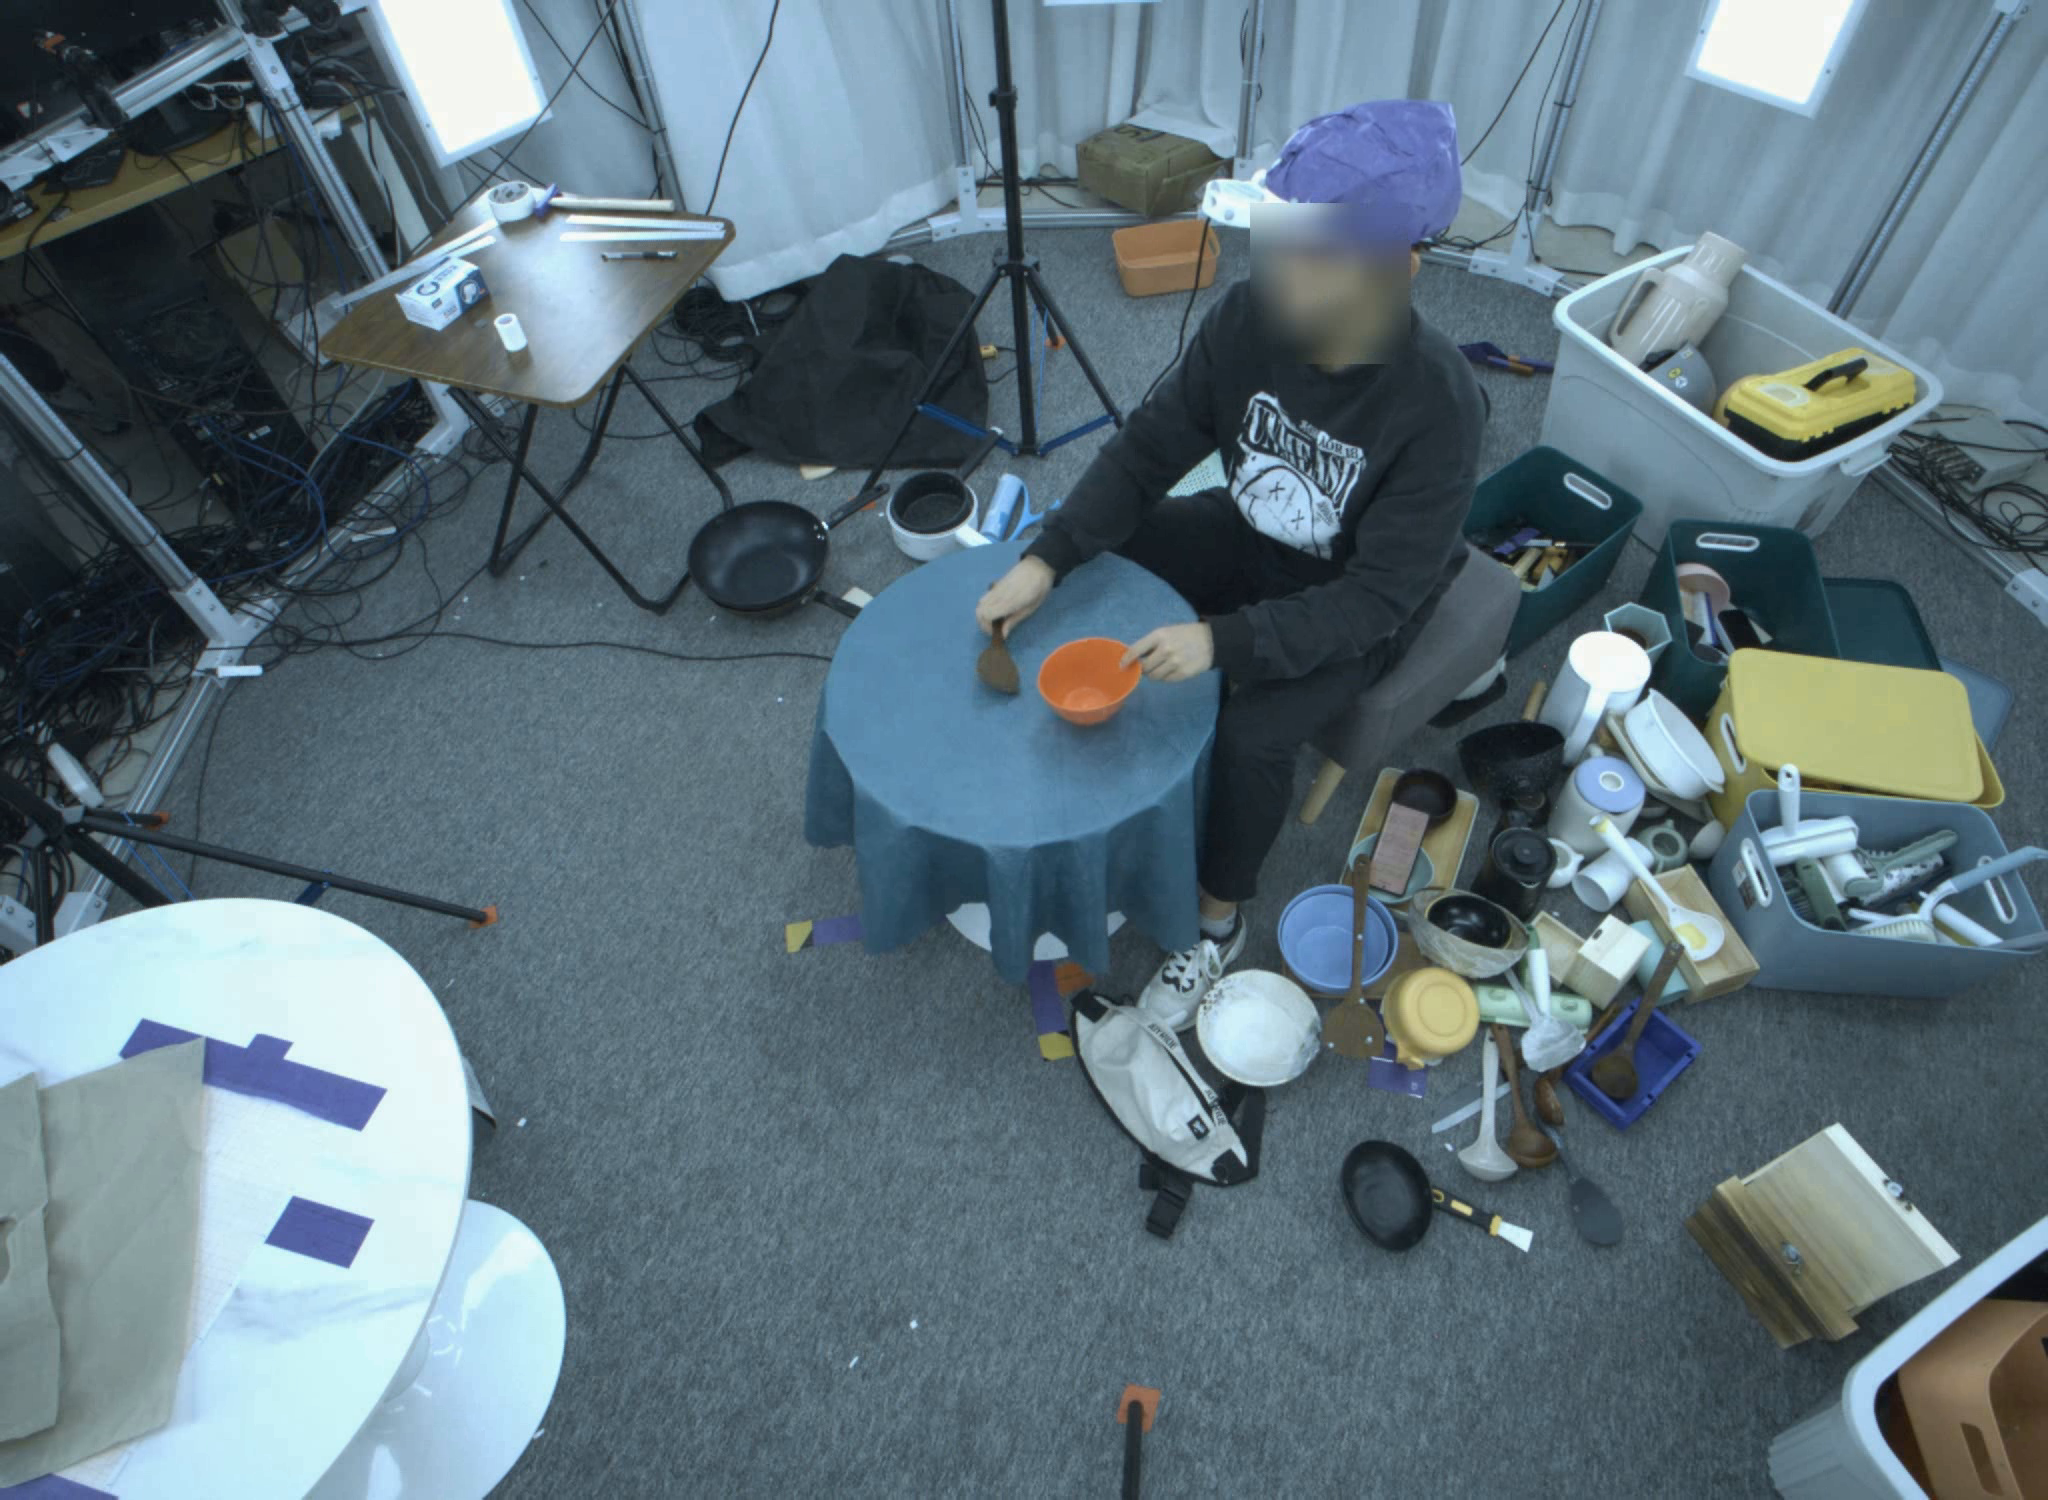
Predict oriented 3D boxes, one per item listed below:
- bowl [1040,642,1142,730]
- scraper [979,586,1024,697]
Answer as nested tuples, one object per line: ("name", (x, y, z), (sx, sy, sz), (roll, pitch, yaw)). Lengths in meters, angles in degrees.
("bowl", (0.098, -0.079, 1.788), (0.148, 0.106, 0.146), (-1, 56, 3))
("scraper", (-0.038, -0.170, 1.889), (0.077, 0.011, 0.209), (16, 53, -27))
